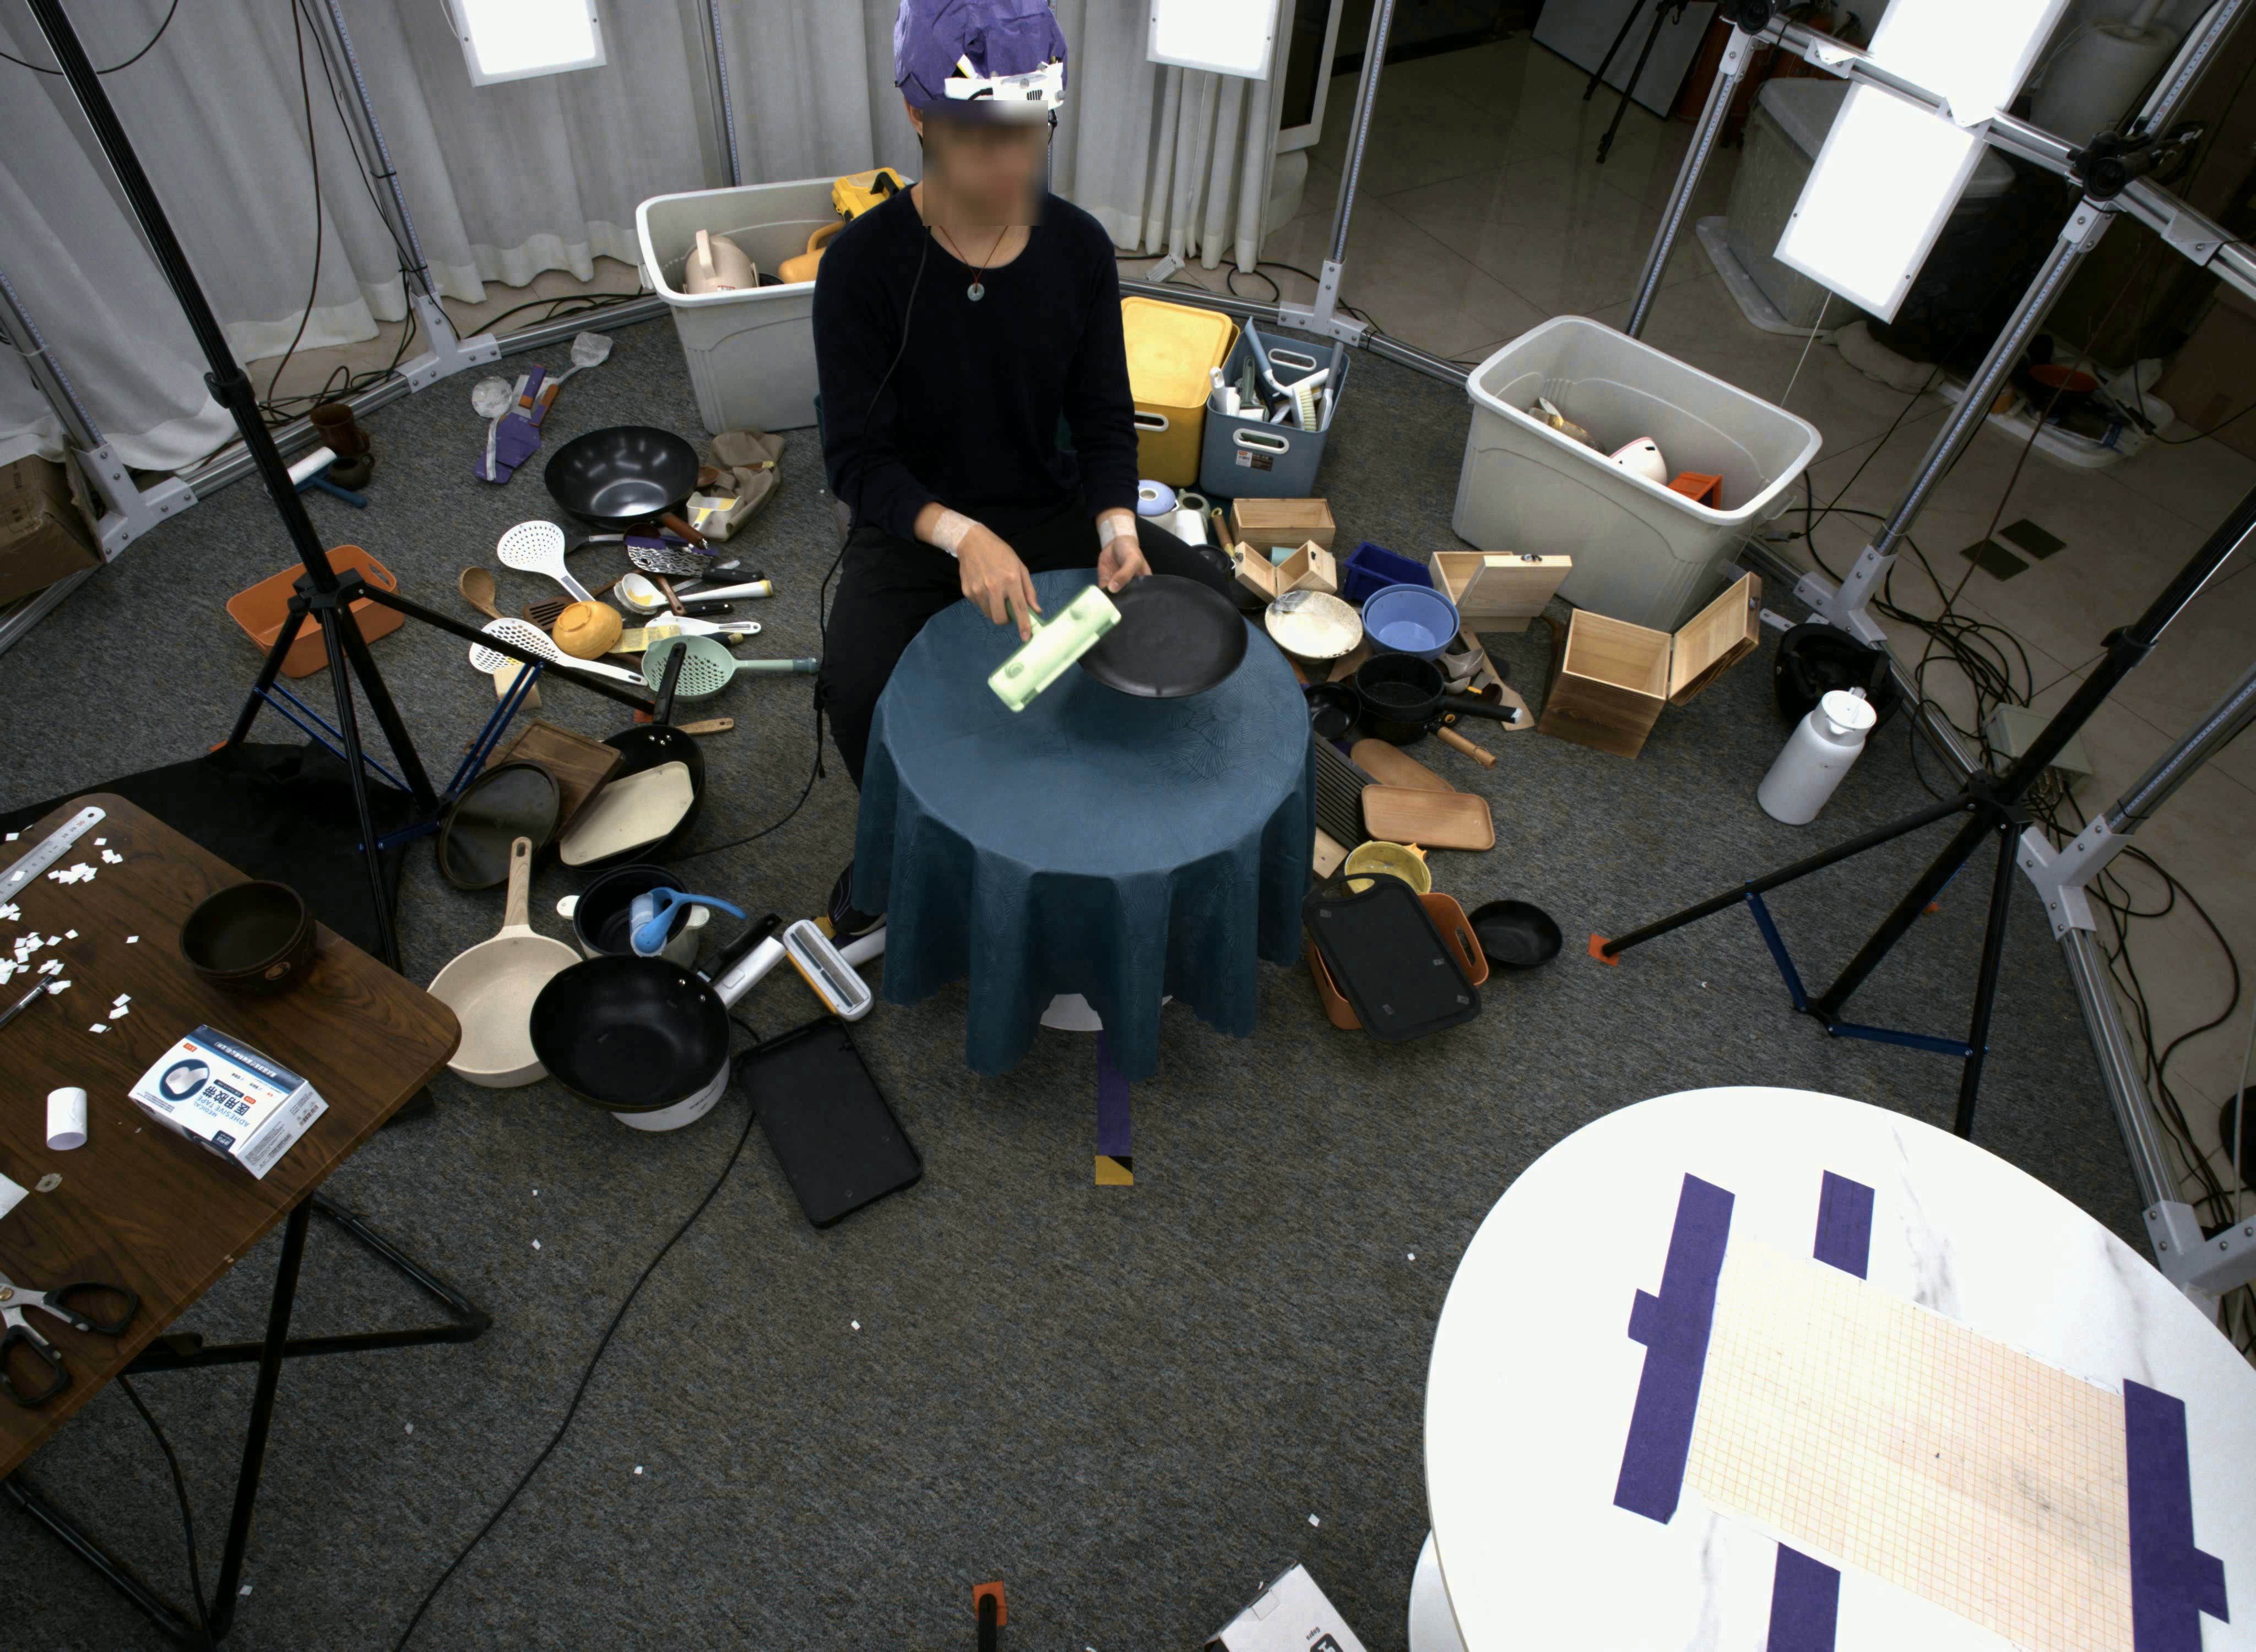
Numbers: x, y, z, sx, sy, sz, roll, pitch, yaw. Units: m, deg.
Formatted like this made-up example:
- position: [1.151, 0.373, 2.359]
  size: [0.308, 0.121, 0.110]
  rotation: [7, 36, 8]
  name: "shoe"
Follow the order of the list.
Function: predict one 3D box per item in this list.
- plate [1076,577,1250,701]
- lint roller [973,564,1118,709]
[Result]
- position: [0.046, -0.254, 1.760]
  size: [0.244, 0.023, 0.250]
  rotation: [0, 50, -1]
  name: "plate"
- position: [-0.142, -0.286, 1.718]
  size: [0.198, 0.082, 0.183]
  rotation: [-44, 90, -1]
  name: "lint roller"
